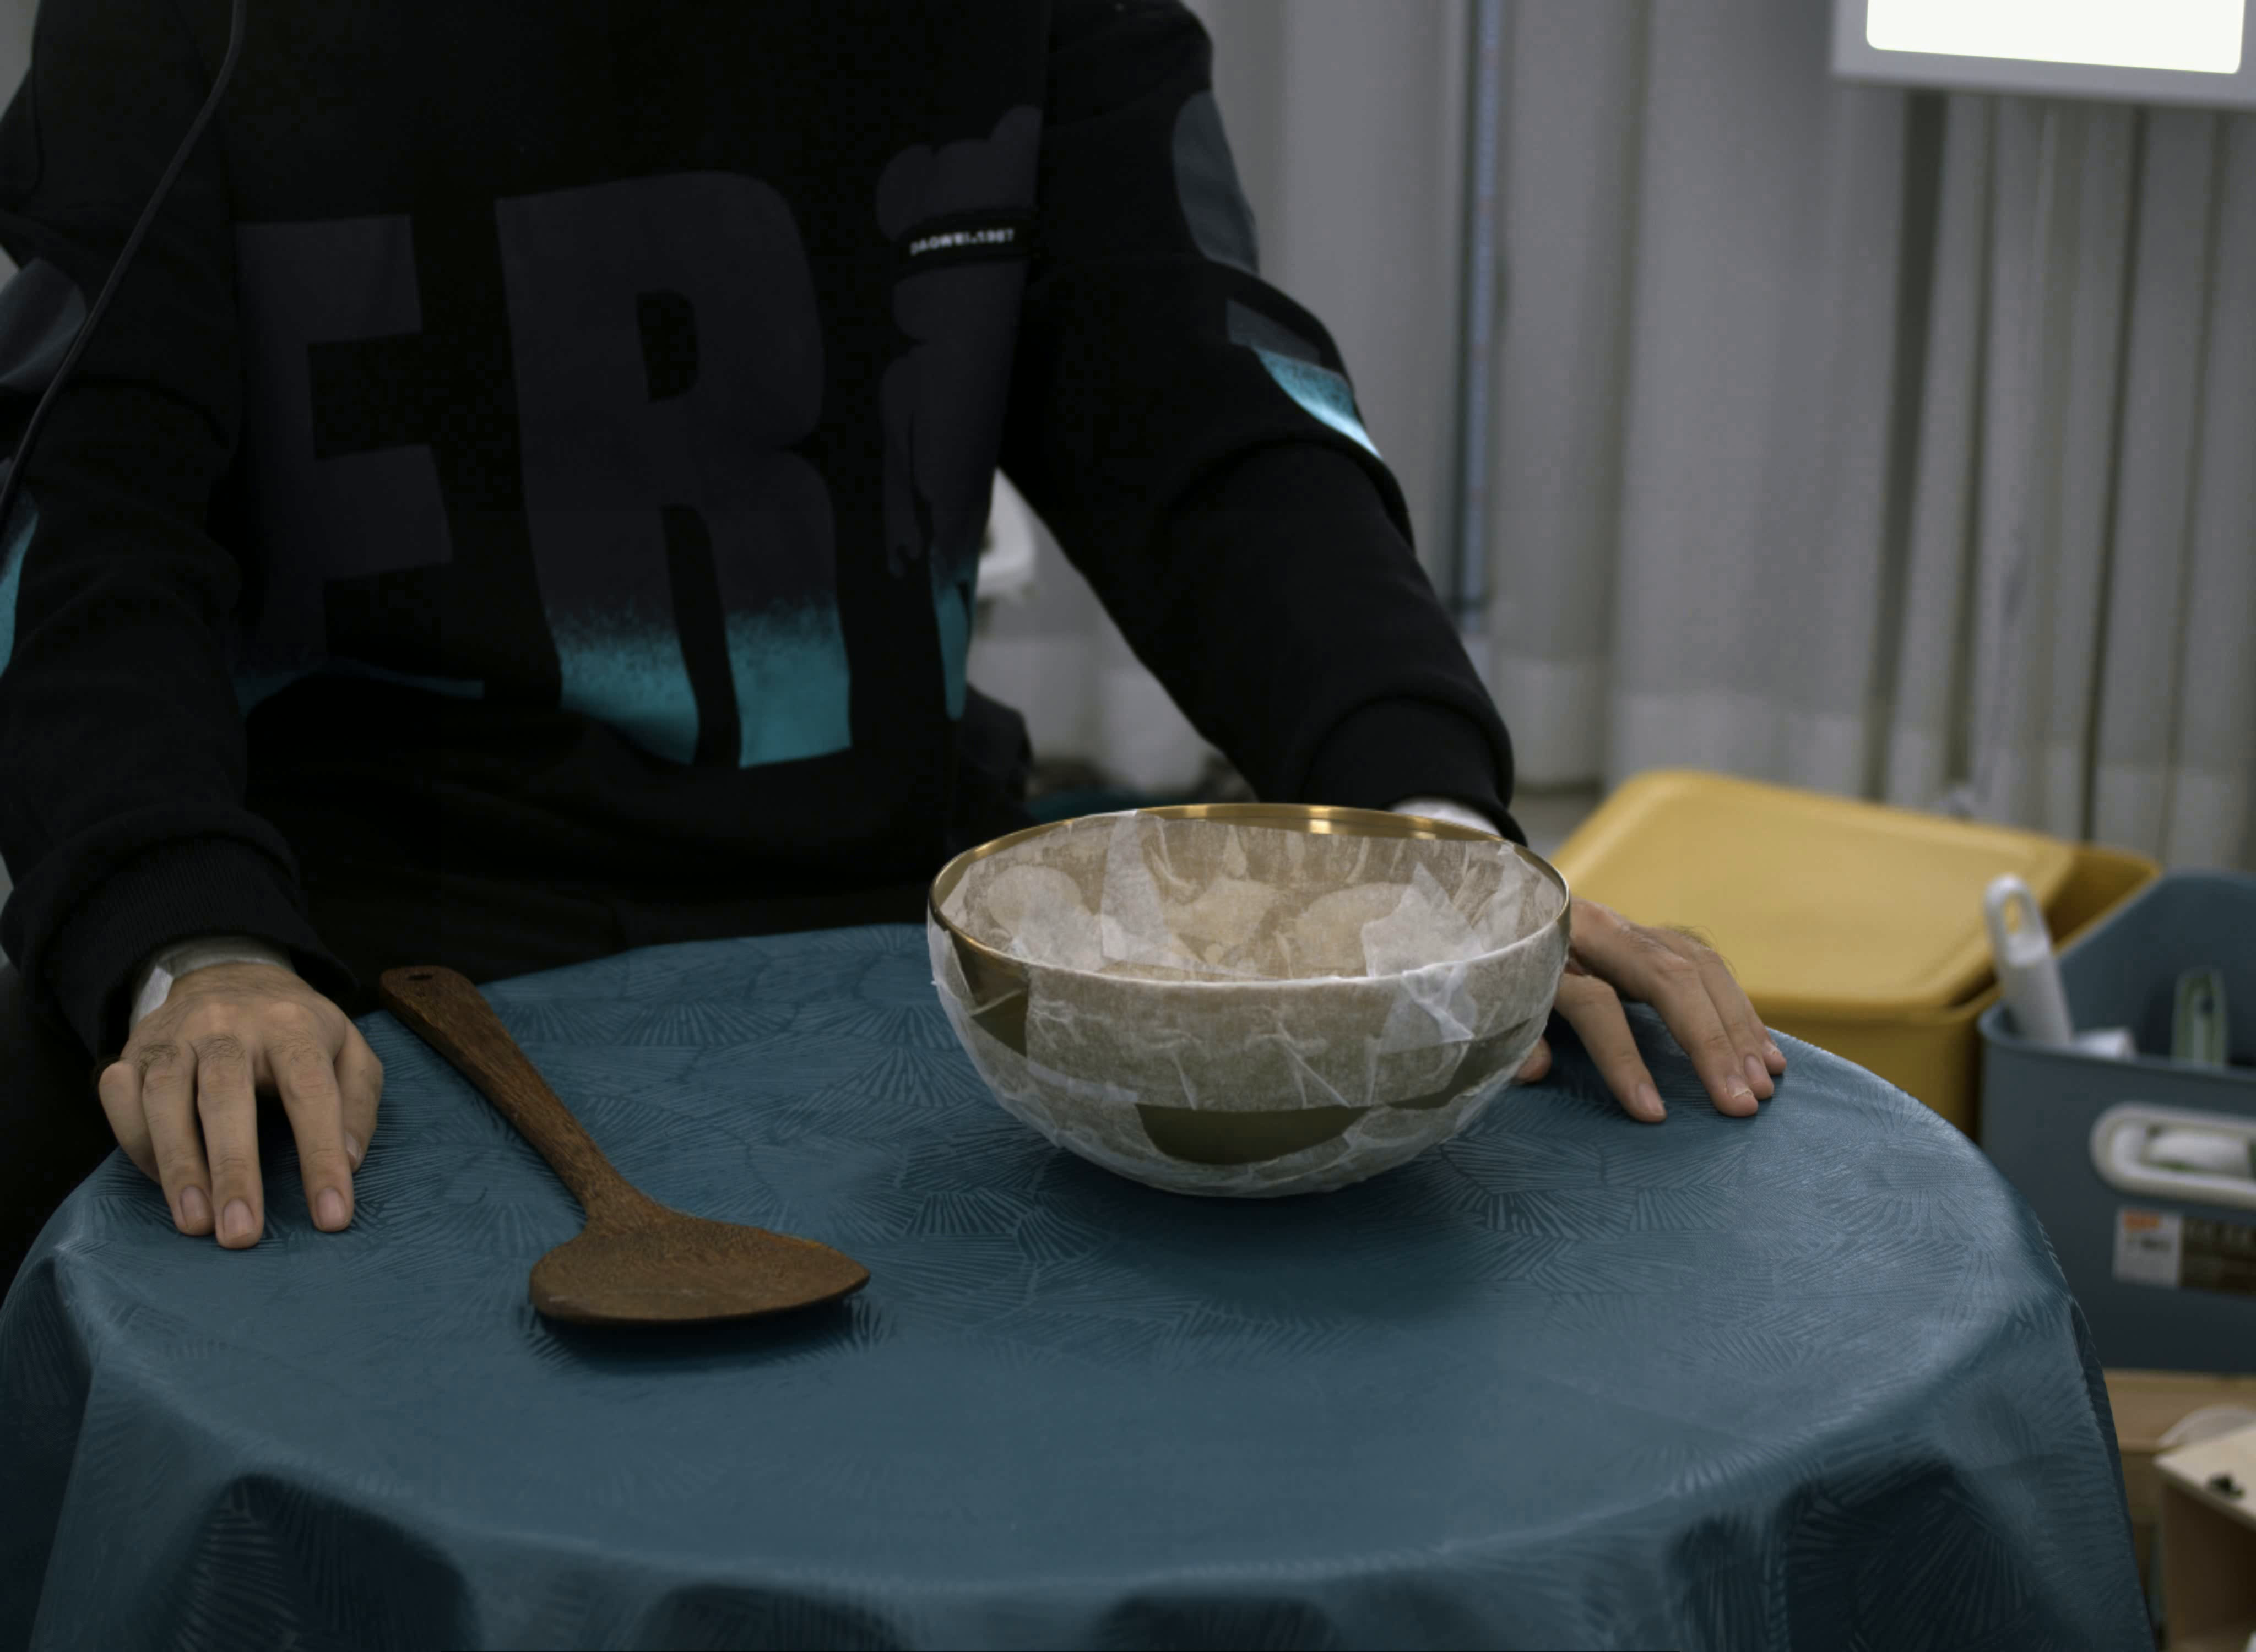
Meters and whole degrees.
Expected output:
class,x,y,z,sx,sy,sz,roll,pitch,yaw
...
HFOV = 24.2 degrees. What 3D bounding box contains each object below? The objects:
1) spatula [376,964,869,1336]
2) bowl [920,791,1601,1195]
class,x,y,z,sx,sy,sz,roll,pitch,yaw
spatula,-0.181,0.096,1.655,0.096,0.016,0.381,-5,16,-21
bowl,0.040,0.060,1.640,0.214,0.095,0.213,-1,16,1
